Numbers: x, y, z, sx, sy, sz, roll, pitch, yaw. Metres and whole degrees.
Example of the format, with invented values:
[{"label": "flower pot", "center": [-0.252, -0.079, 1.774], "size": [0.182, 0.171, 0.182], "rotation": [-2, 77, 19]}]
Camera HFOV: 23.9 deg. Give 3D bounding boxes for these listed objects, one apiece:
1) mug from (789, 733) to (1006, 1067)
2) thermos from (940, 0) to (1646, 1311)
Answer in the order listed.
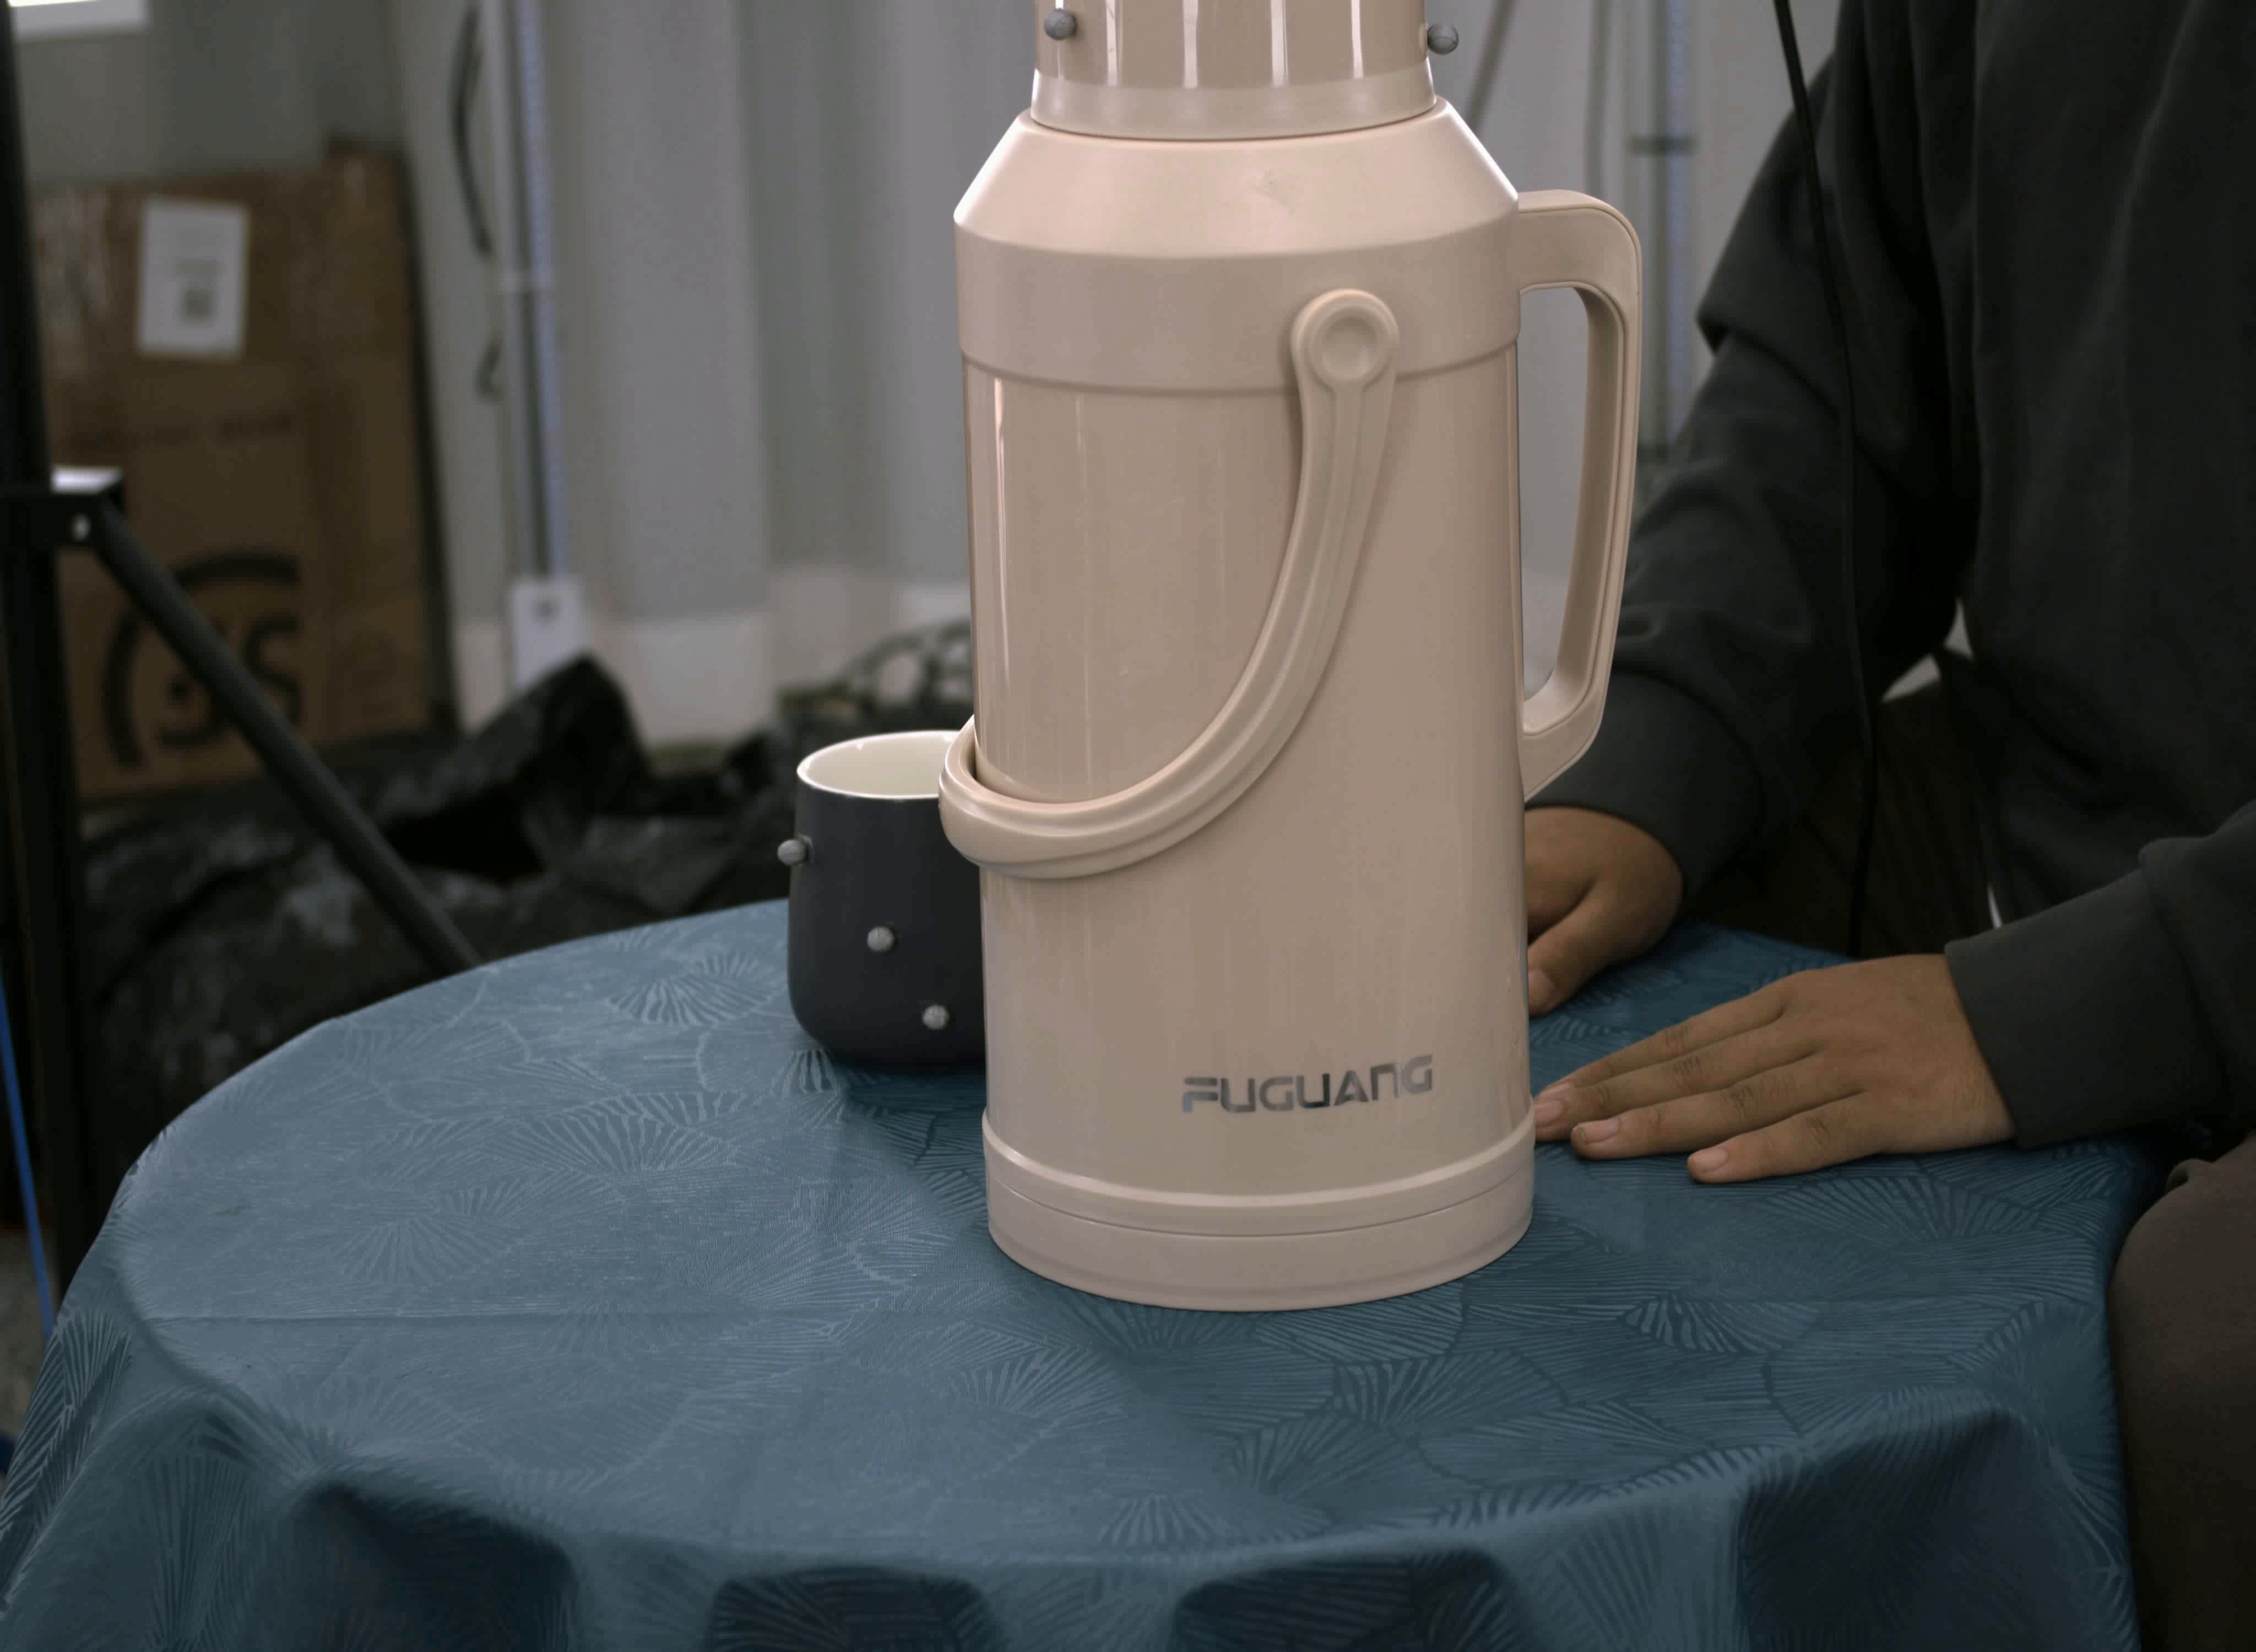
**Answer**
[{"label": "mug", "center": [-0.049, 0.021, 1.703], "size": [0.121, 0.090, 0.095], "rotation": [-9, 17, -23]}, {"label": "thermos", "center": [0.047, -0.080, 1.488], "size": [0.203, 0.406, 0.178], "rotation": [-7, 15, -17]}]
